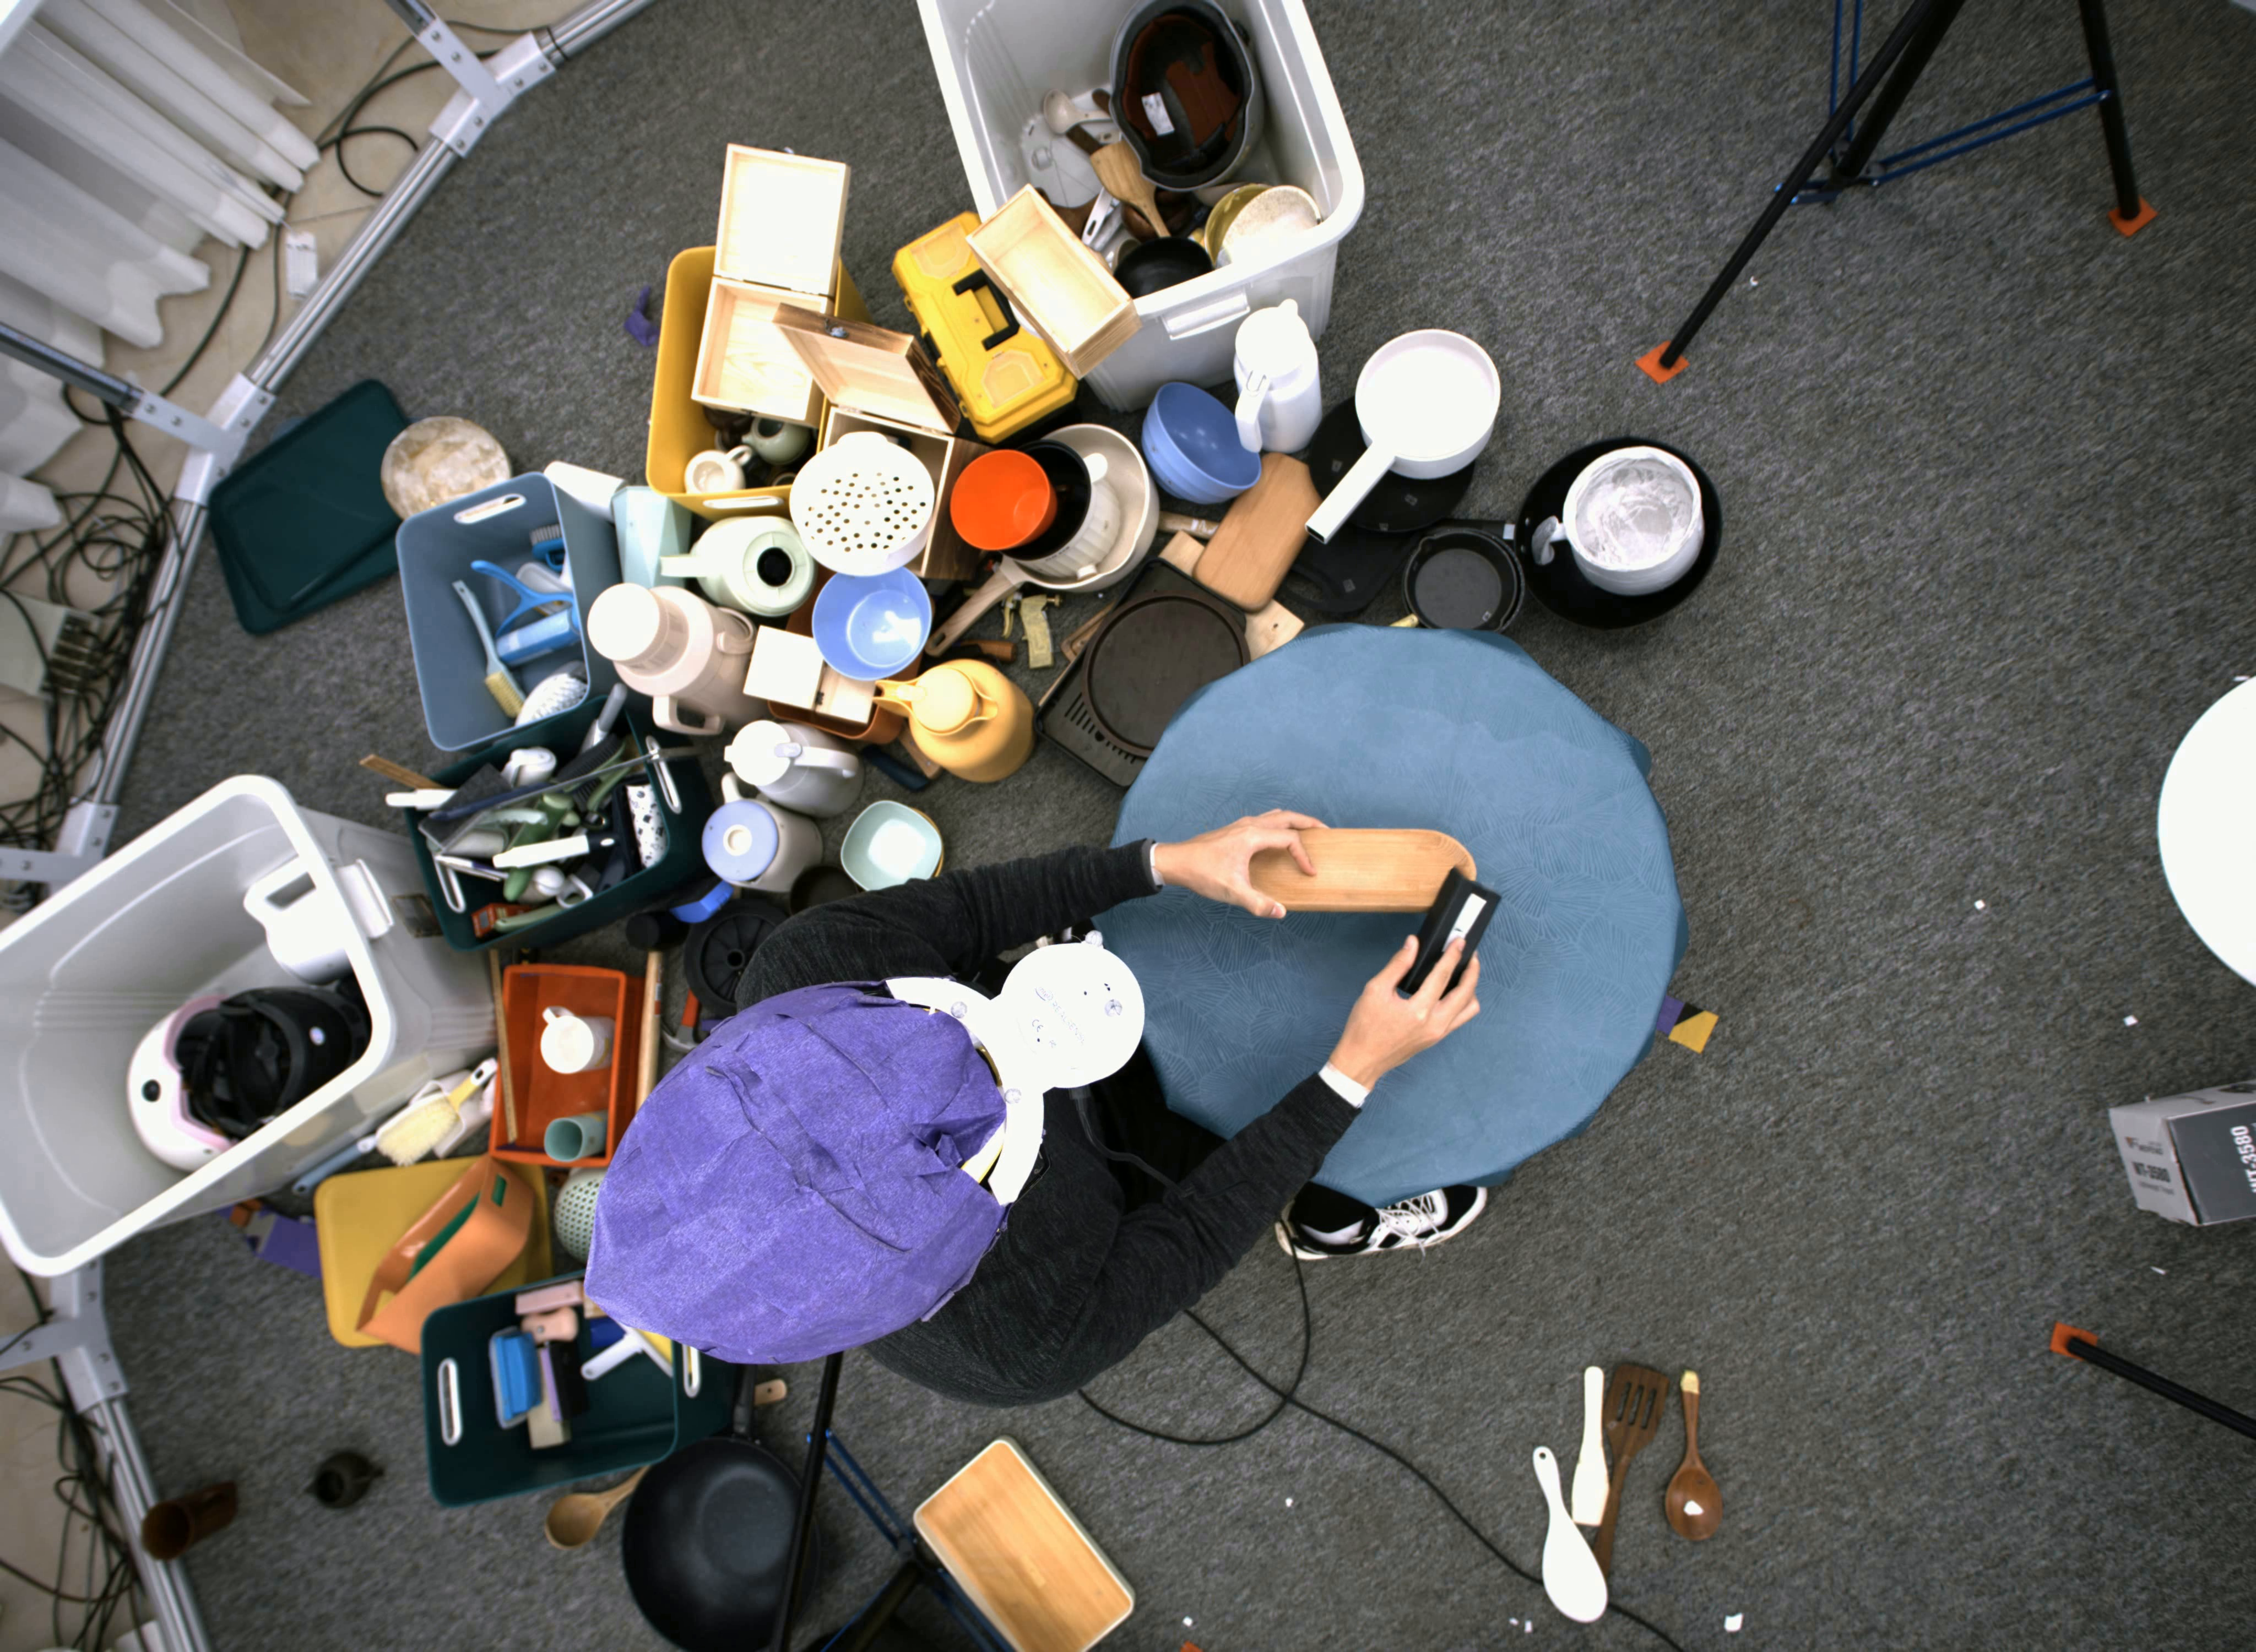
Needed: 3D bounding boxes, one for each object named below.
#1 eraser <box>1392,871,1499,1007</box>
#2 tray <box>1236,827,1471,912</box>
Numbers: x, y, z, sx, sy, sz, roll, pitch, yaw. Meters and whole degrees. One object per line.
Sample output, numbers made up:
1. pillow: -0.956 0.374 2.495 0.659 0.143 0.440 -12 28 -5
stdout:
1. eraser: 0.303 0.106 1.319 0.053 0.030 0.126 22 101 -13
2. tray: 0.222 0.042 1.364 0.232 0.021 0.099 -1 48 3
